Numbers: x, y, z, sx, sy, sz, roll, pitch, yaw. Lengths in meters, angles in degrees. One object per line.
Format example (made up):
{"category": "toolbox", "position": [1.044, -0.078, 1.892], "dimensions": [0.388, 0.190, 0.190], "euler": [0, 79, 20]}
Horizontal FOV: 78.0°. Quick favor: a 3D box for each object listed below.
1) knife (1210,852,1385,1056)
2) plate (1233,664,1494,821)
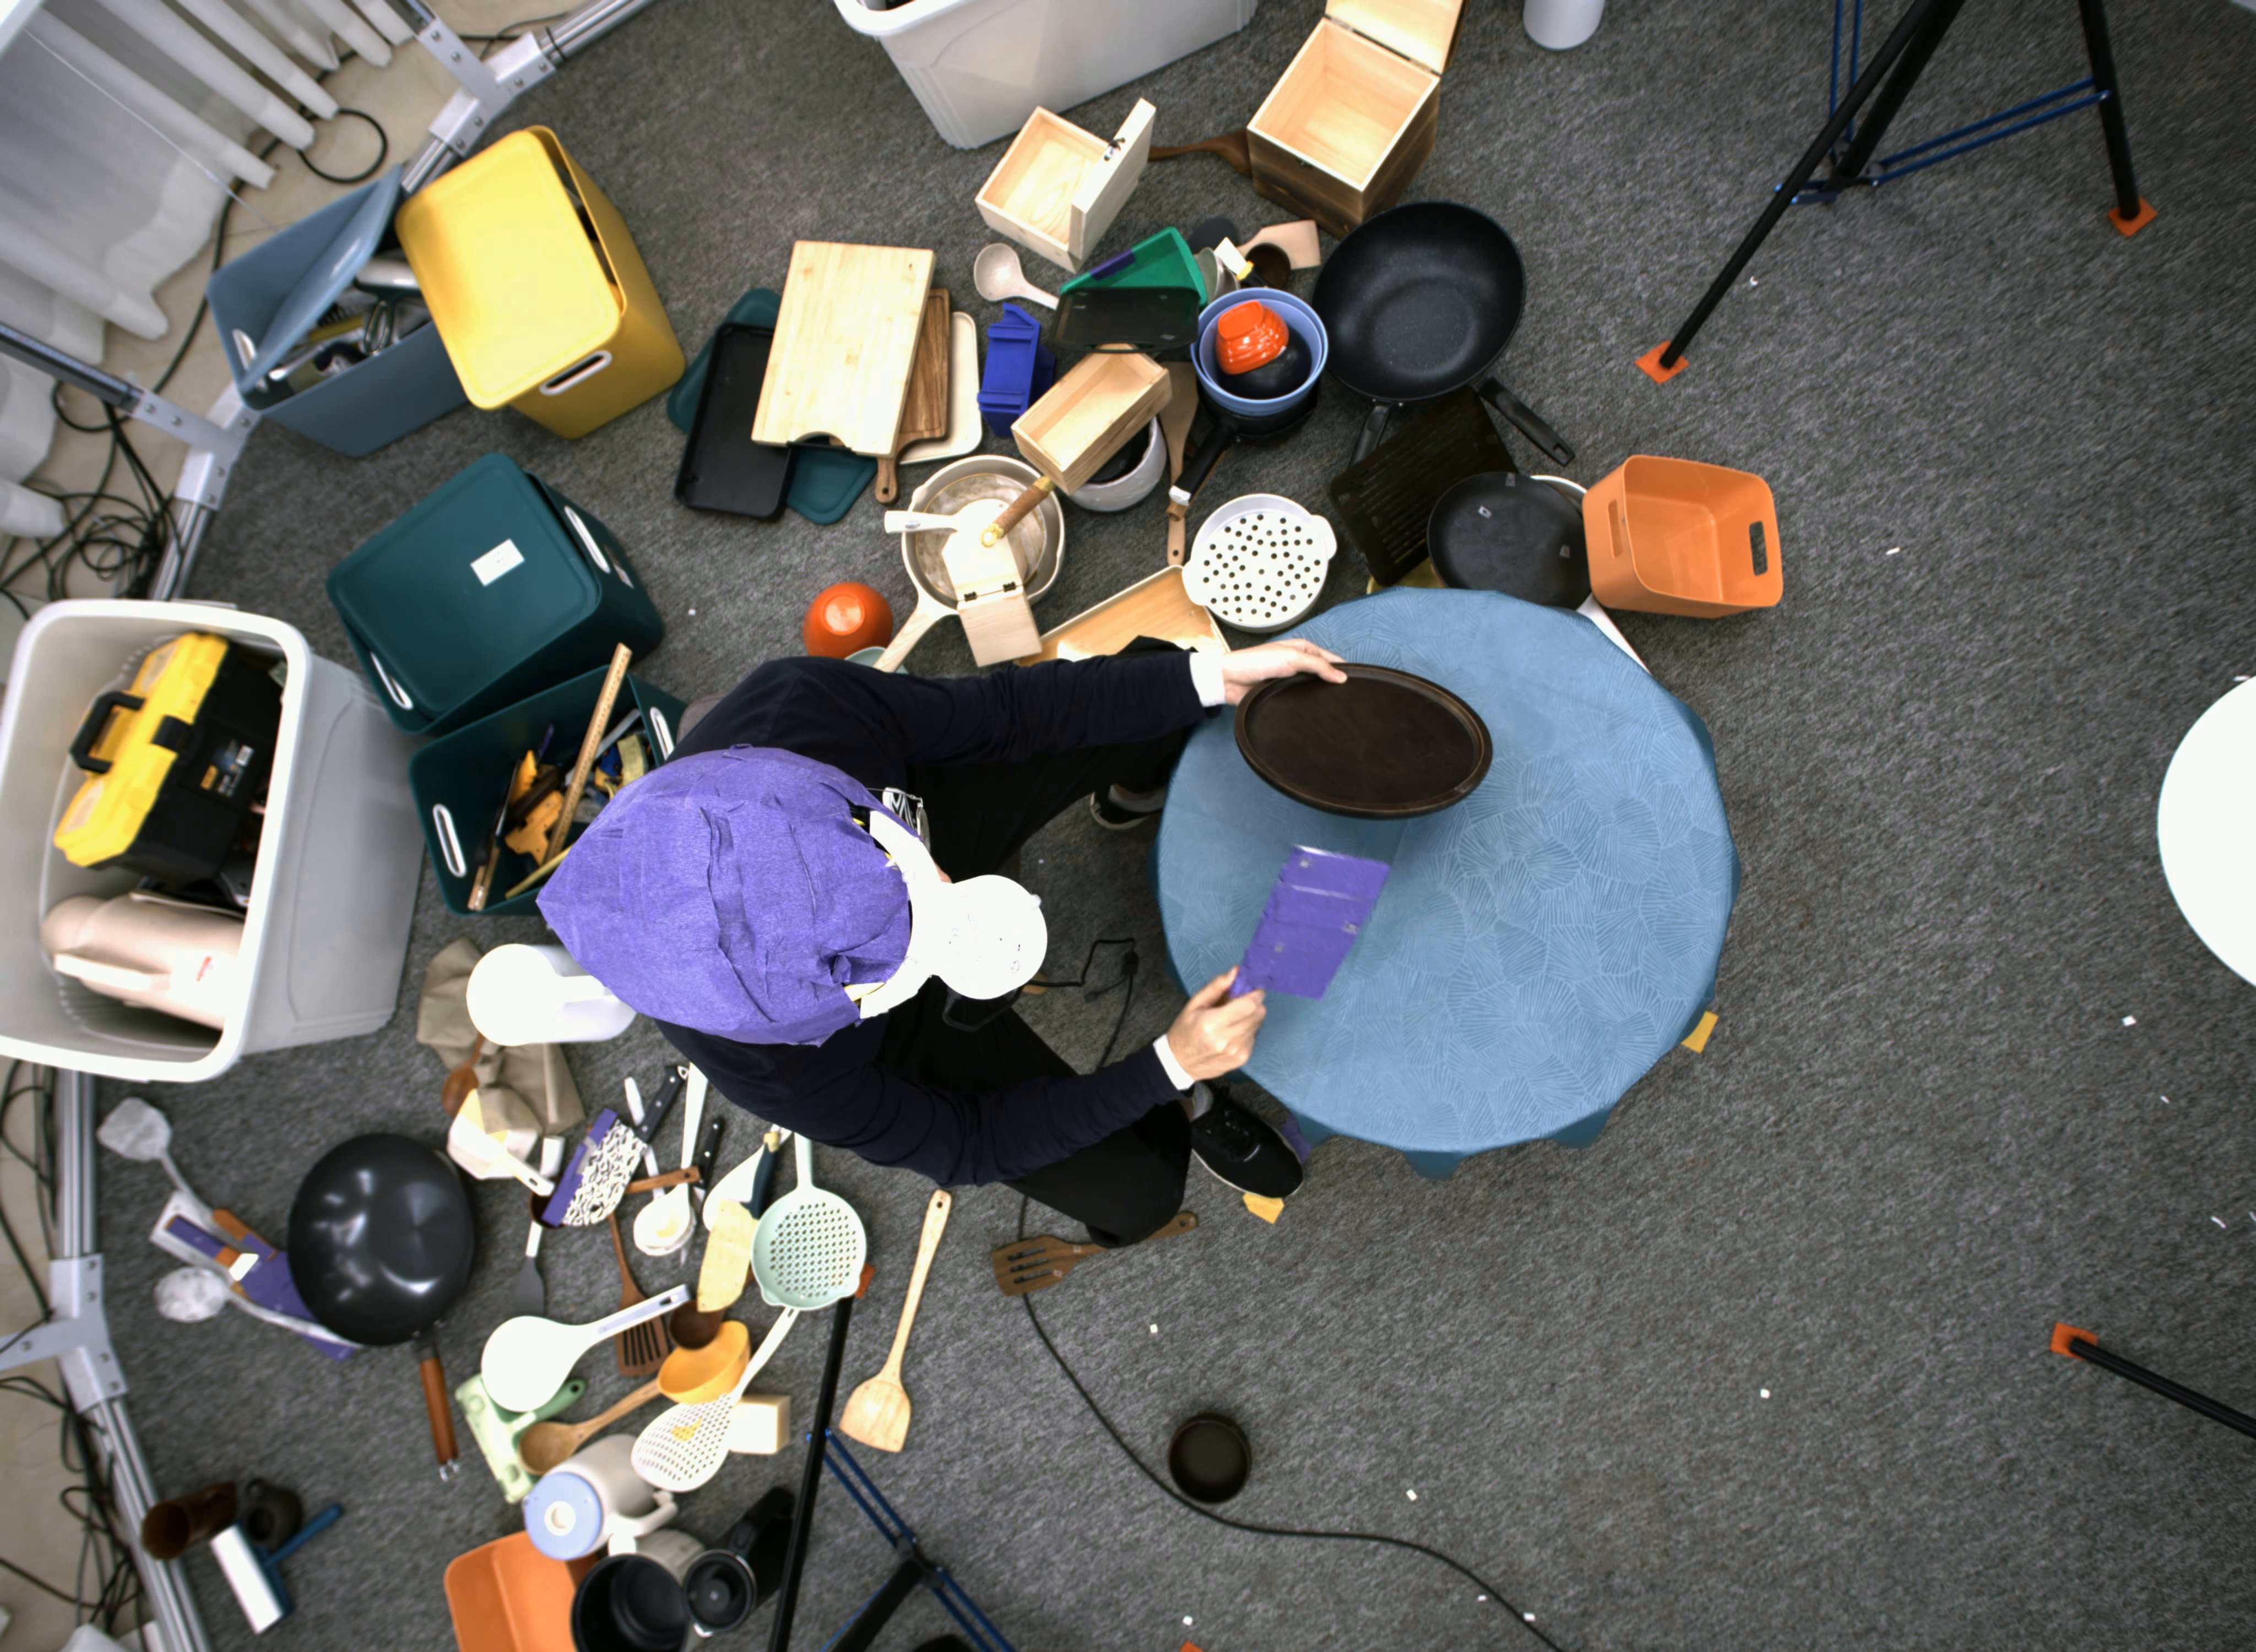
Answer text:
{"category": "knife", "position": [0.157, 0.134, 1.314], "dimensions": [0.104, 0.323, 0.031], "euler": [13, 50, -4]}
{"category": "plate", "position": [0.228, -0.086, 1.345], "dimensions": [0.255, 0.248, 0.030], "euler": [12, 131, 11]}
